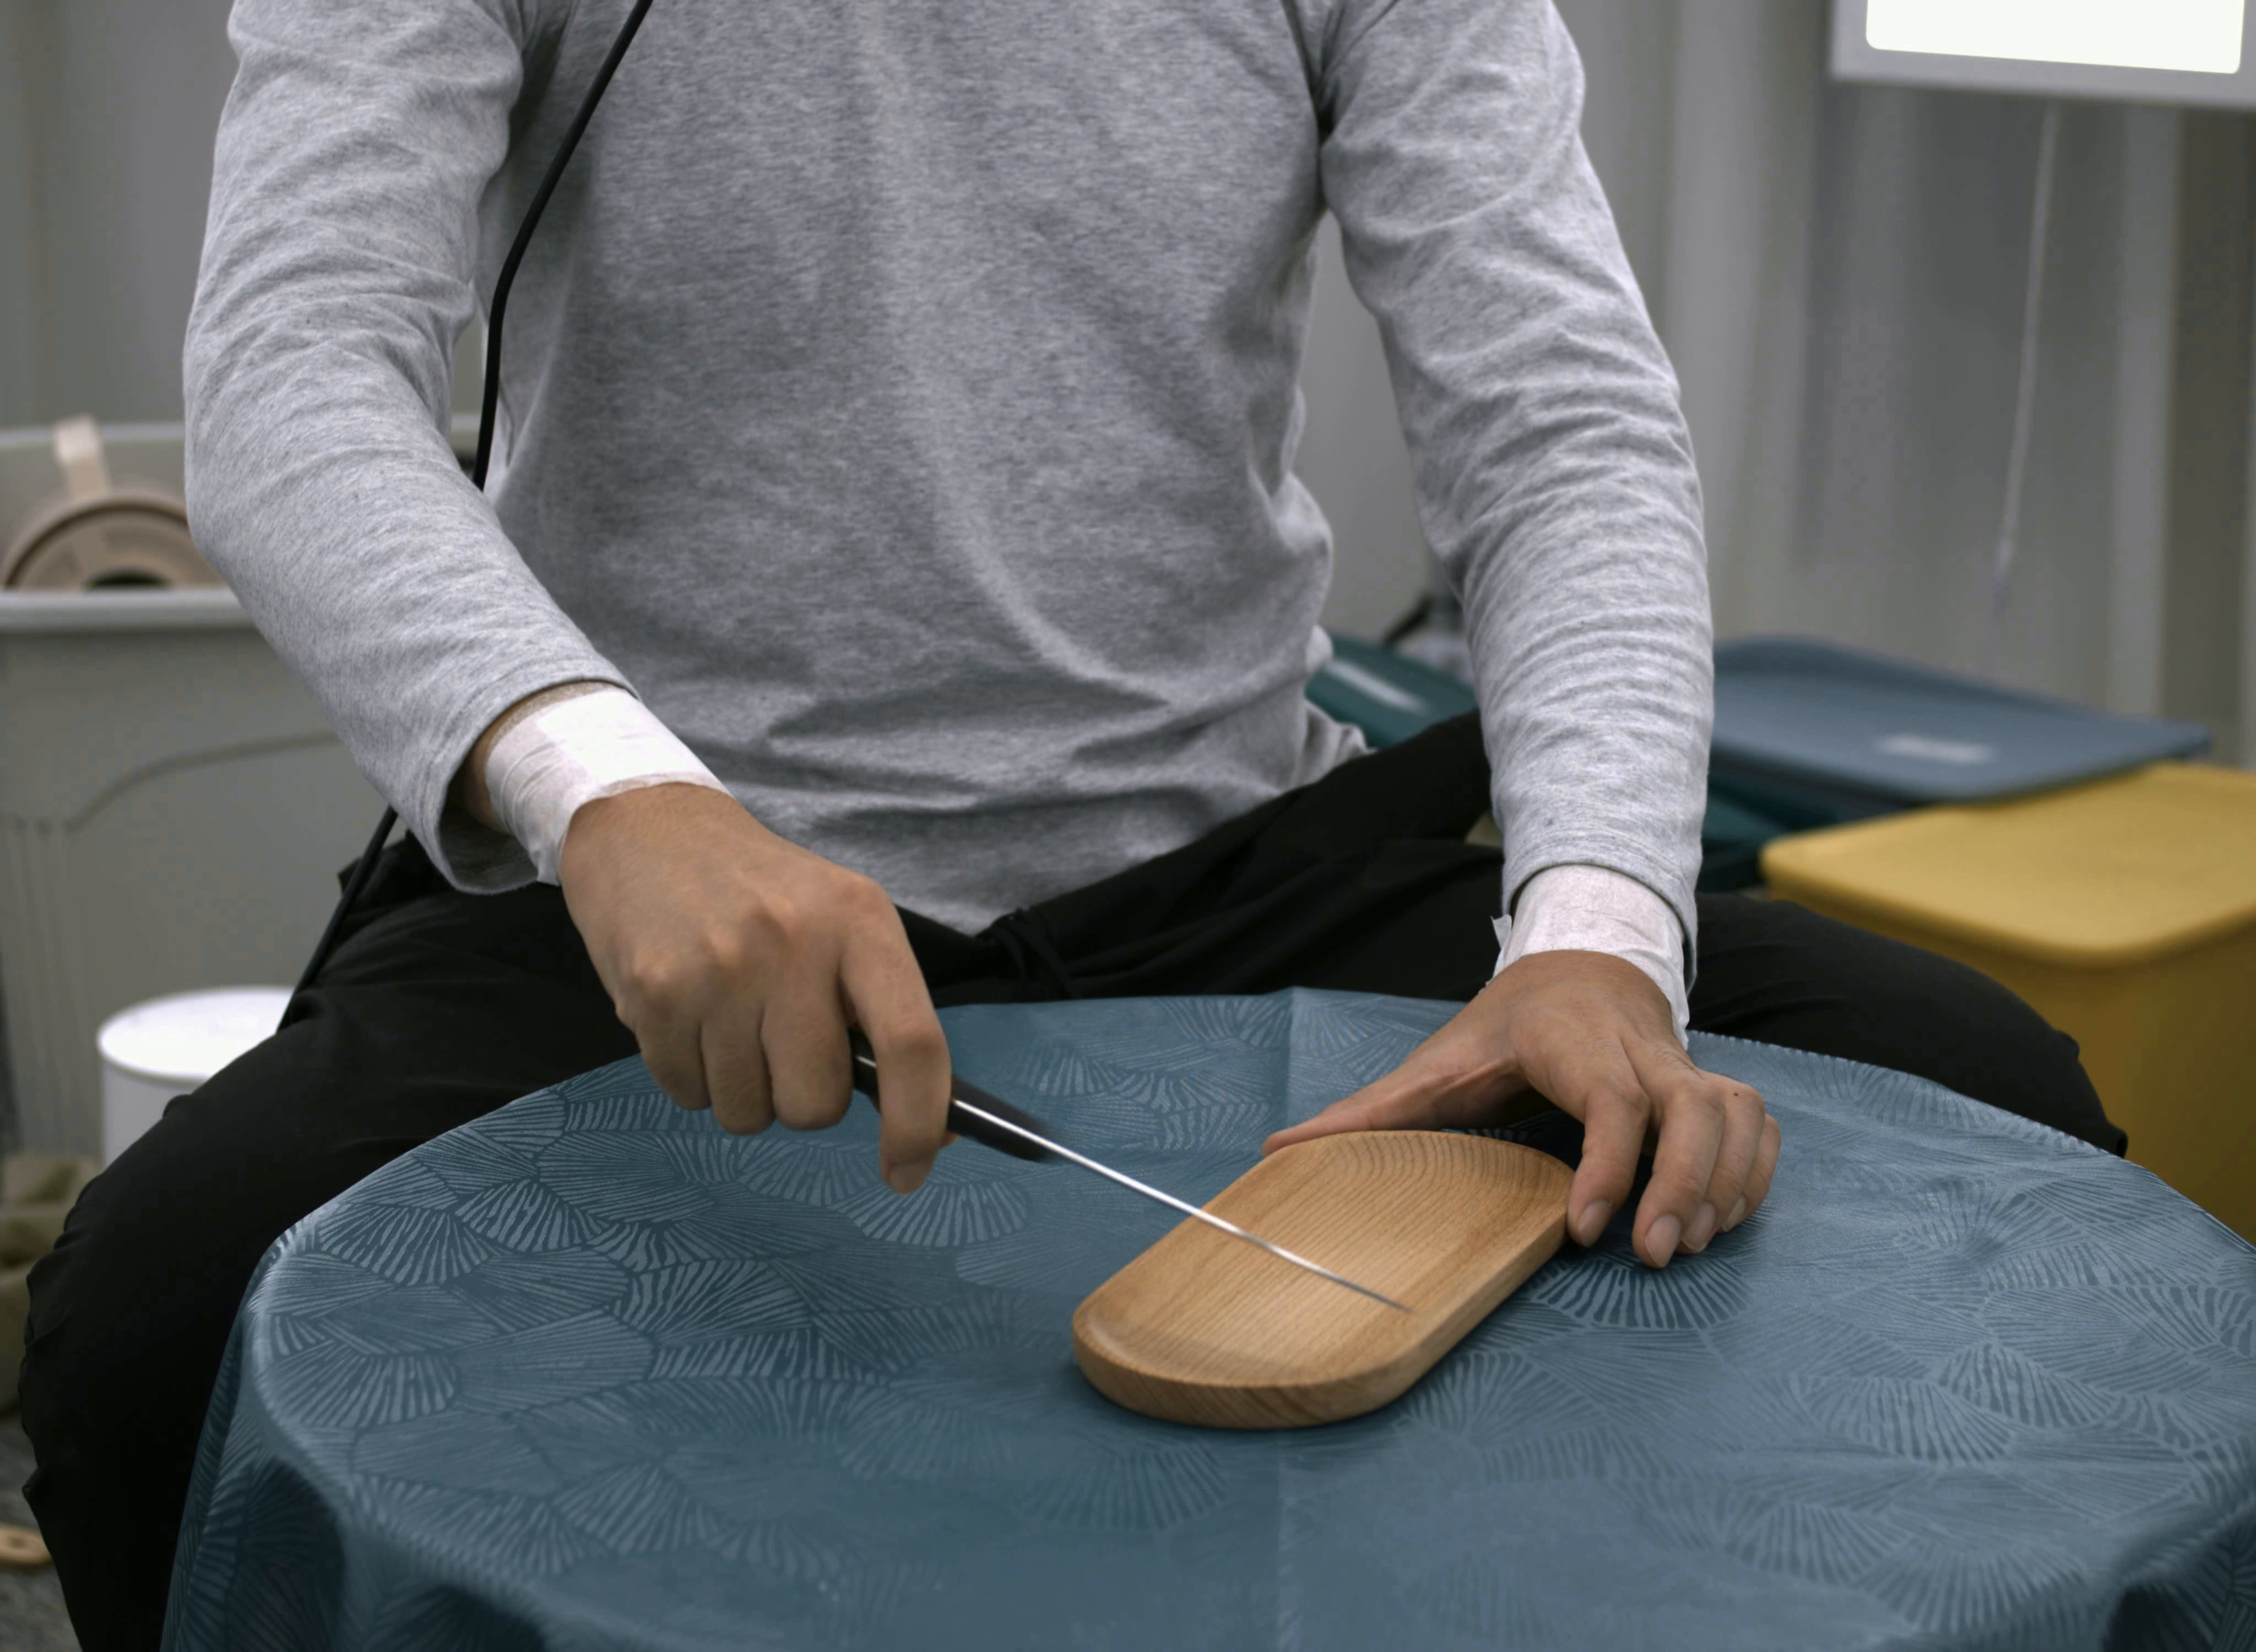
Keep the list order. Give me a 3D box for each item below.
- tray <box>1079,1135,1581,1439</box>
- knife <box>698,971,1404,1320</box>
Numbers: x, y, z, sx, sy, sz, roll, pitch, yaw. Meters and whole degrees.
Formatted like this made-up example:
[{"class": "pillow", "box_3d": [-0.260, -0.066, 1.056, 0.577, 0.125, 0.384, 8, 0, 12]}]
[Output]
[{"class": "tray", "box_3d": [0.062, 0.131, 1.530, 0.101, 0.020, 0.231, 5, 17, 21]}, {"class": "knife", "box_3d": [-0.025, 0.090, 1.481, 0.235, 0.016, 0.025, 24, -8, 23]}]
